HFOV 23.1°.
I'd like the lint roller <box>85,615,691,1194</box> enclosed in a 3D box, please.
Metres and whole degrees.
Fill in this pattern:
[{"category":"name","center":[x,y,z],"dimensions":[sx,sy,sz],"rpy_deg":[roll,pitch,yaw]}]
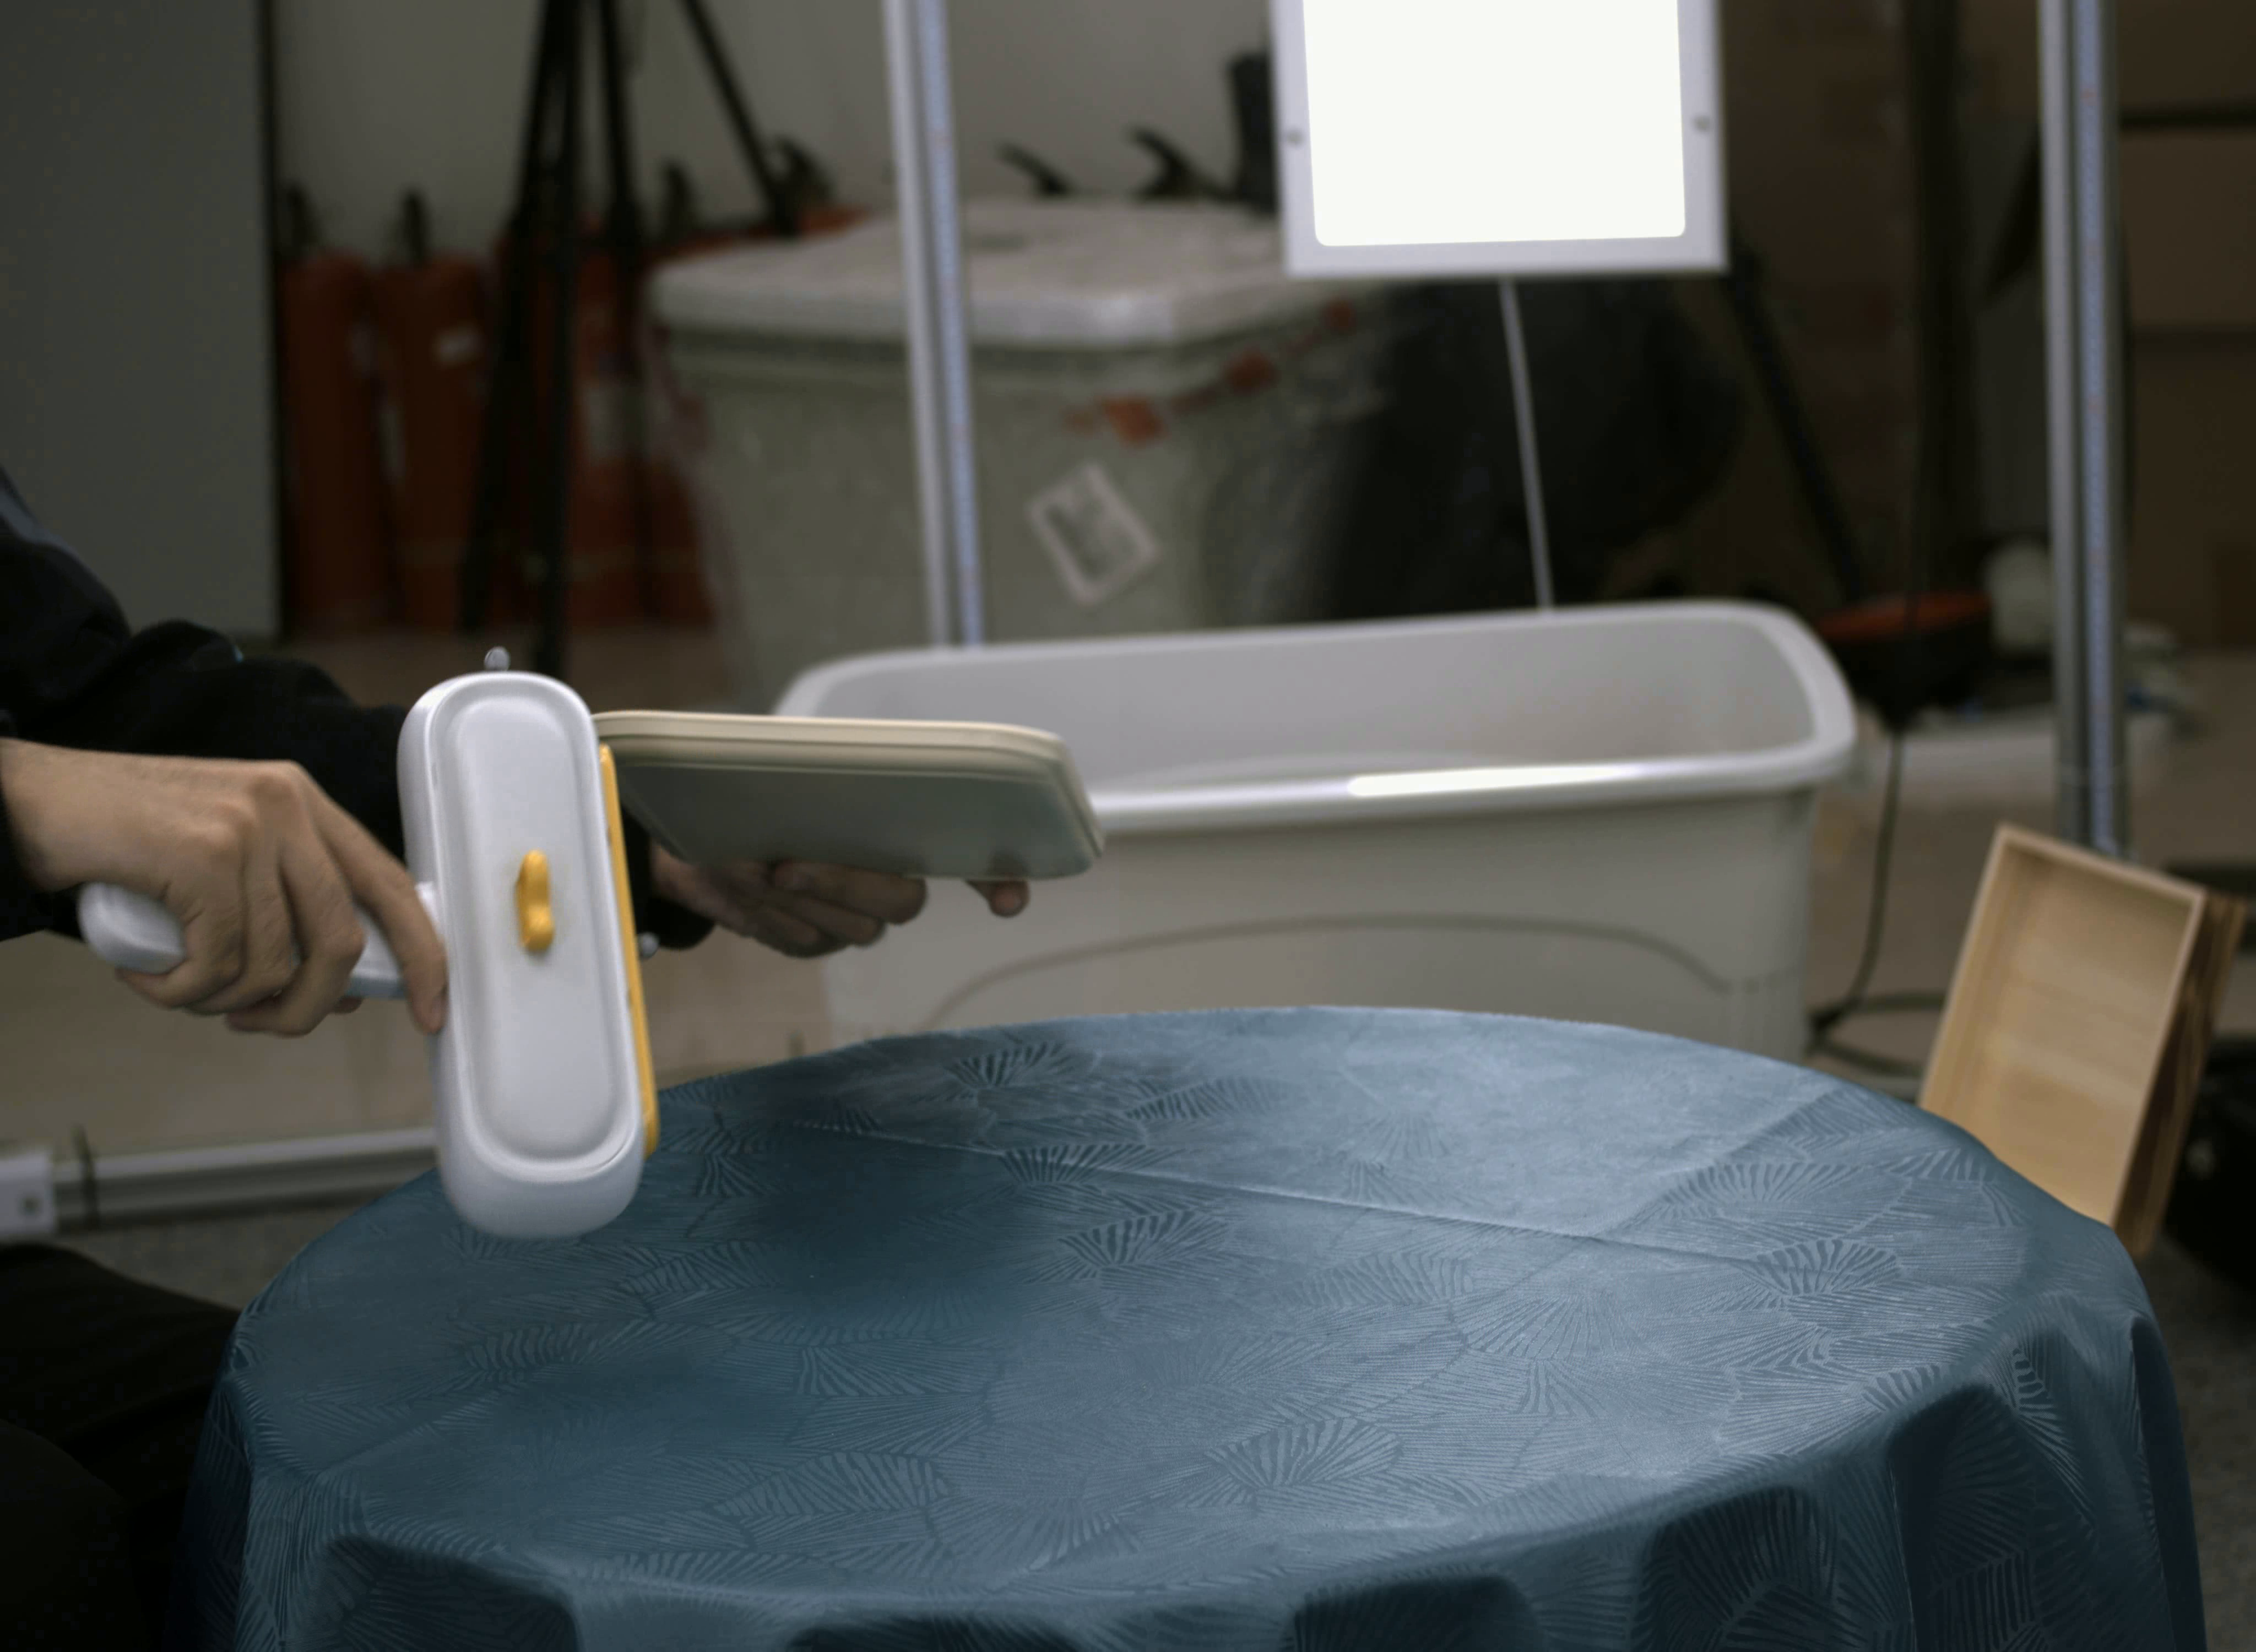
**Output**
[{"category":"lint roller","center":[-0.241,0.027,1.763],"dimensions":[0.189,0.193,0.075],"rpy_deg":[-5,-14,-21]}]

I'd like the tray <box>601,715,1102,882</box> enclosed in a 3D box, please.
[{"category":"tray","center":[-0.102,-0.007,1.966],"dimensions":[0.172,0.017,0.238],"rpy_deg":[1,-10,7]}]
